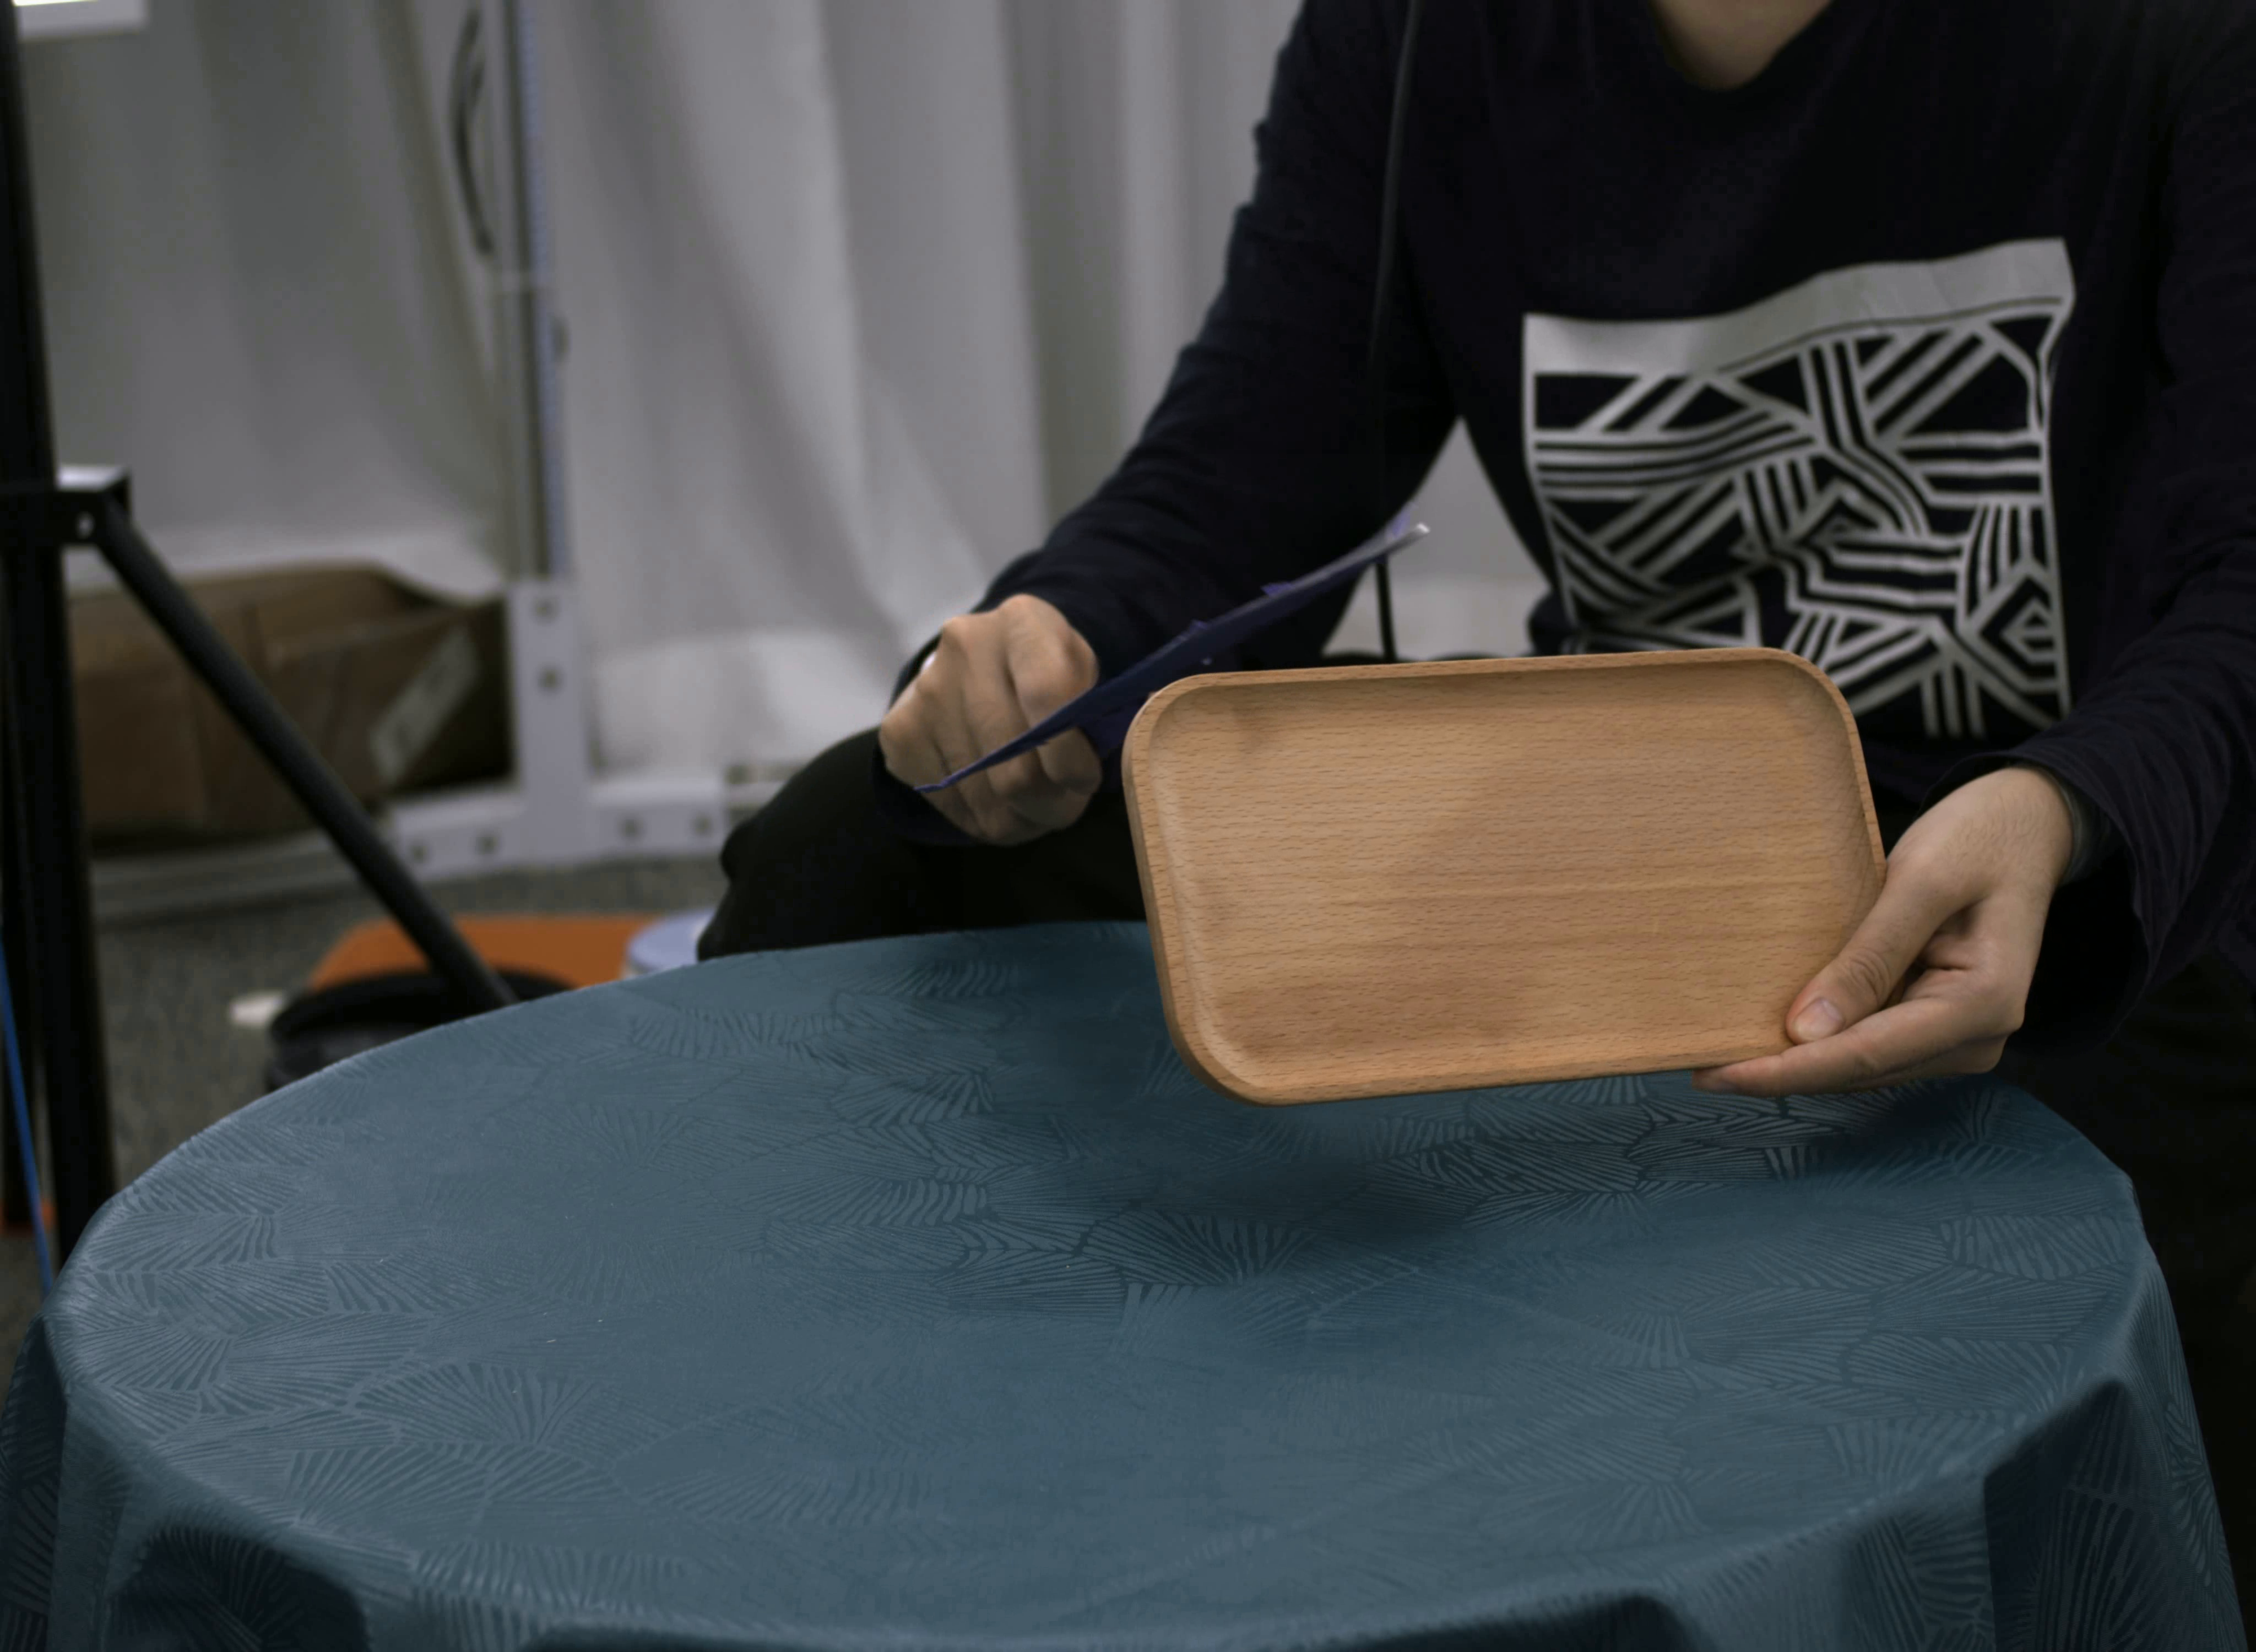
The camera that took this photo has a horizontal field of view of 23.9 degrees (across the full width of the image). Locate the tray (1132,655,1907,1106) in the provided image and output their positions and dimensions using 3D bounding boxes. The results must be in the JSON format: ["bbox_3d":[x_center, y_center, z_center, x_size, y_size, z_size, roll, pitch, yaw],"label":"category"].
[{"bbox_3d":[0.116,0.015,1.541,0.245,0.132,0.023,0,-14,-27],"label":"tray"}]

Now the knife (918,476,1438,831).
[{"bbox_3d":[-0.013,-0.043,1.665,0.102,0.032,0.319,-25,-5,-28],"label":"knife"}]
